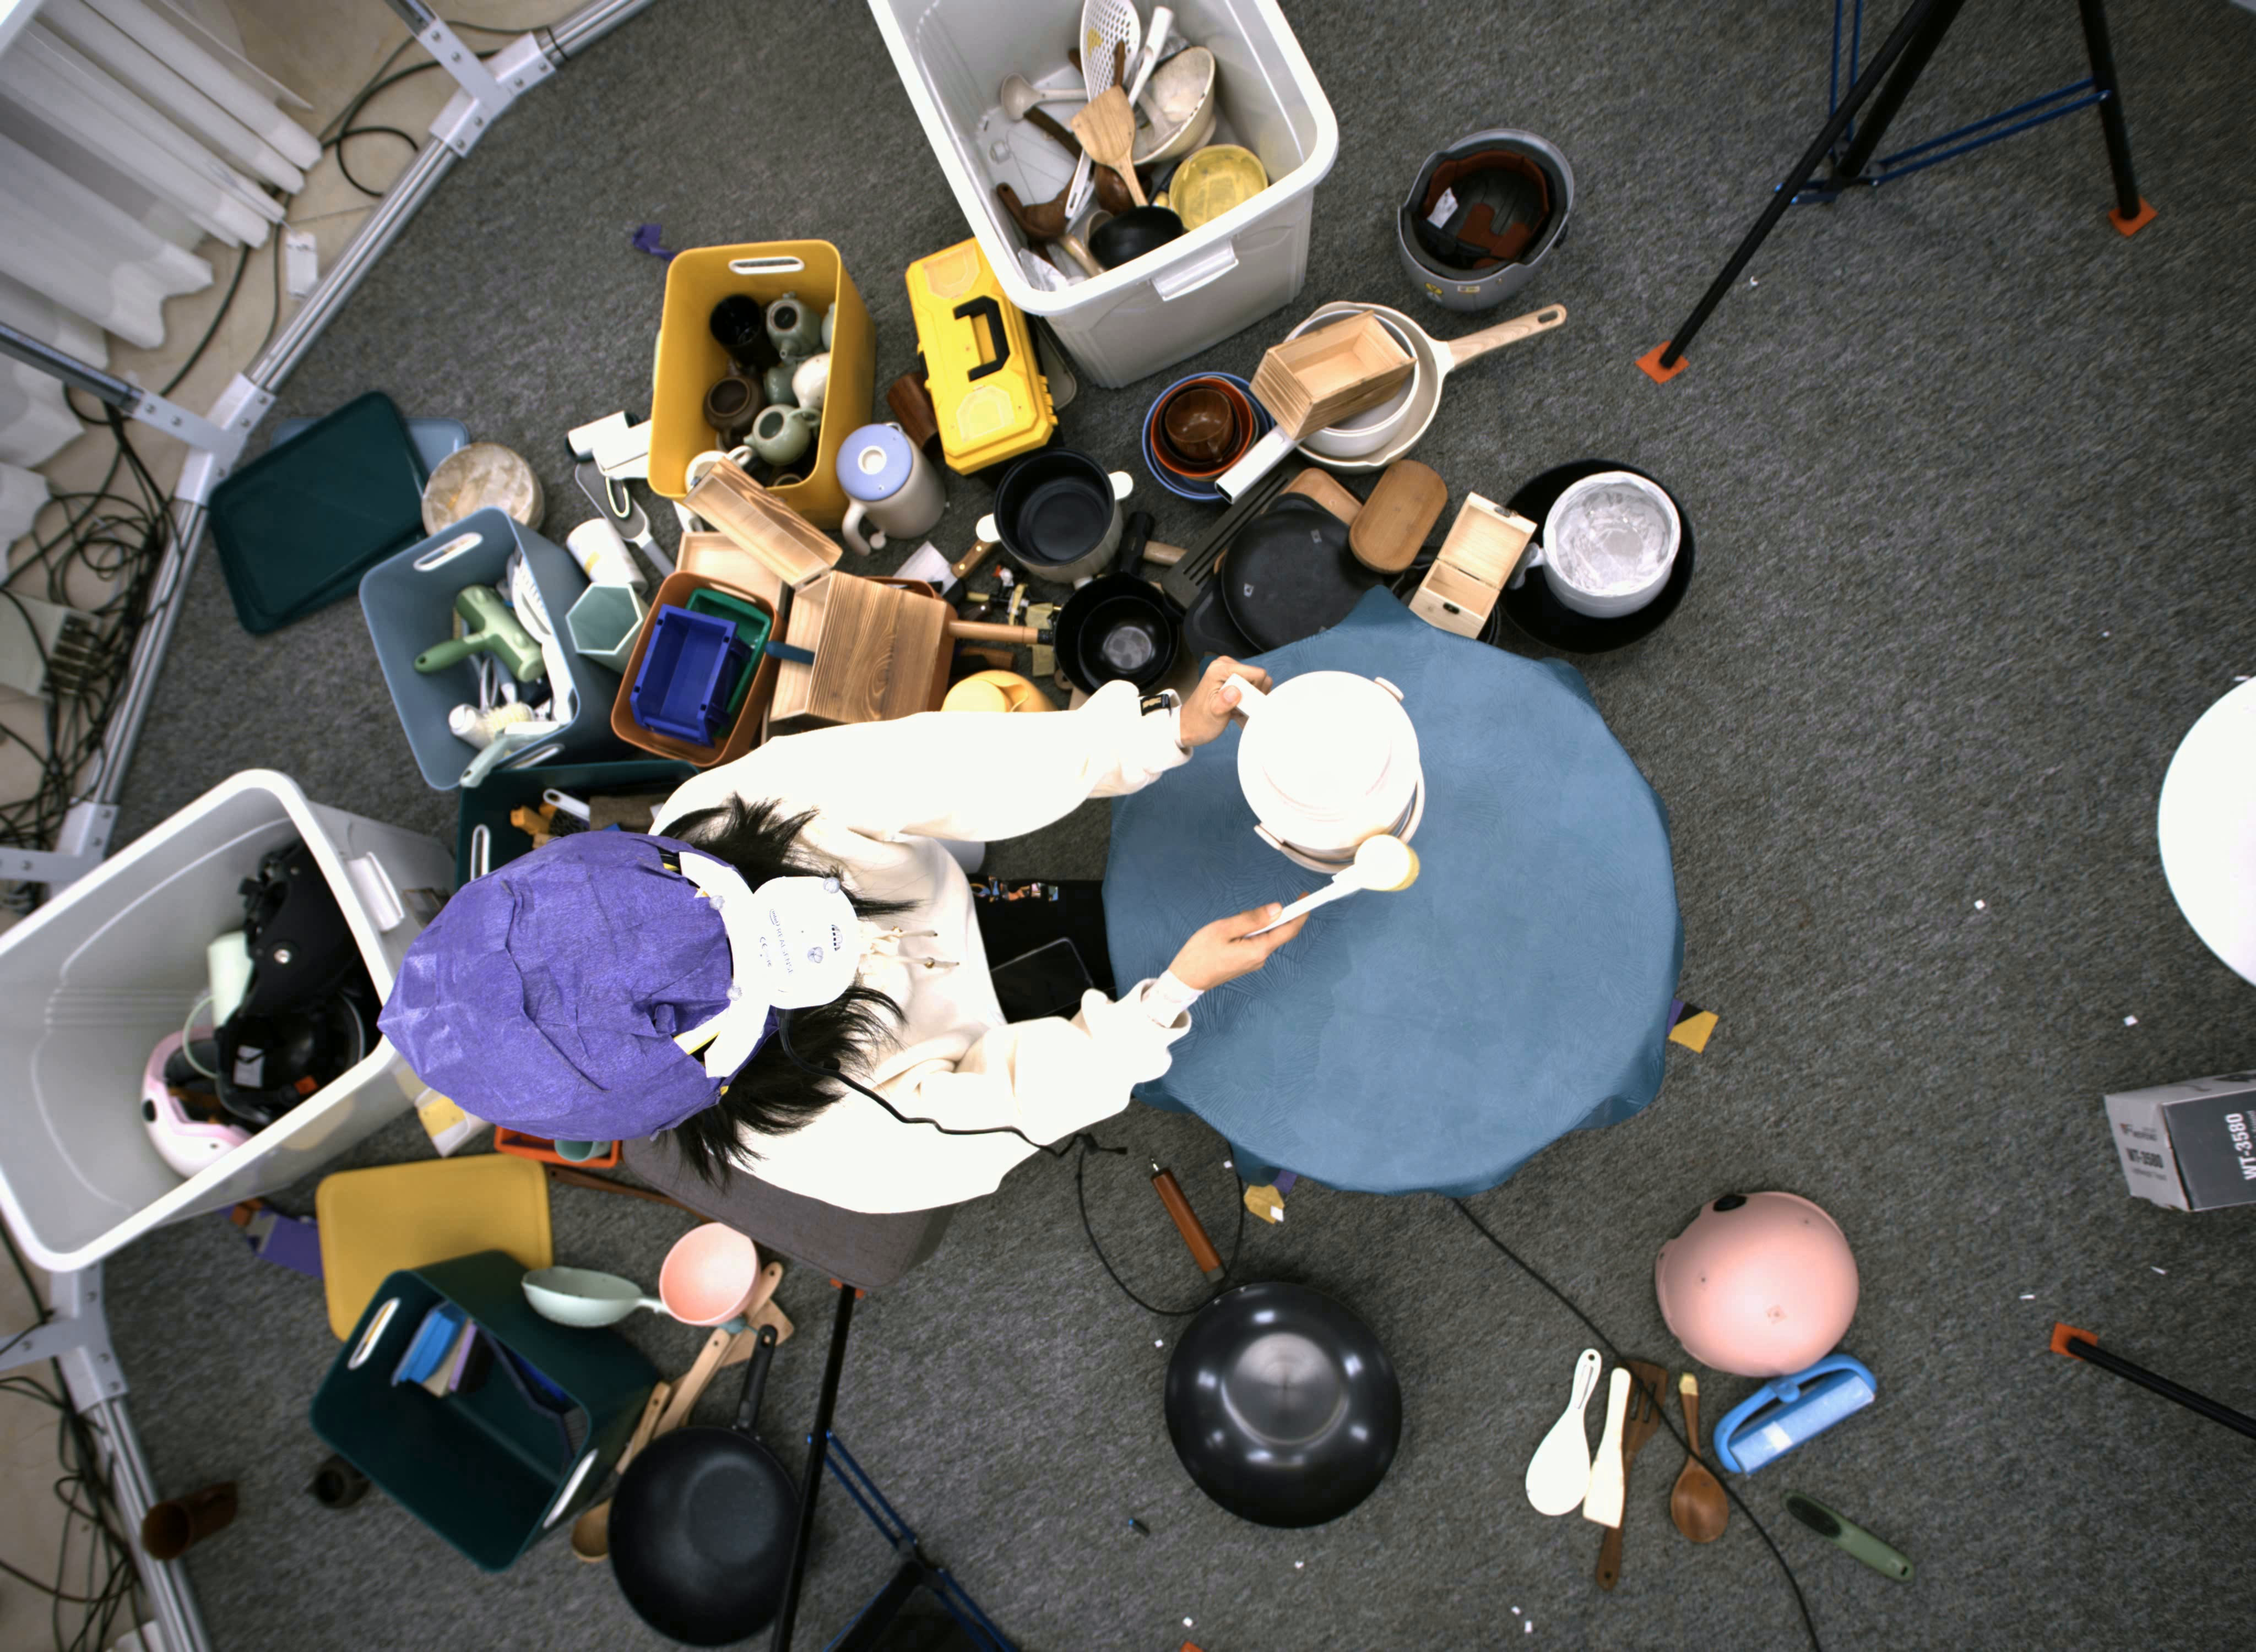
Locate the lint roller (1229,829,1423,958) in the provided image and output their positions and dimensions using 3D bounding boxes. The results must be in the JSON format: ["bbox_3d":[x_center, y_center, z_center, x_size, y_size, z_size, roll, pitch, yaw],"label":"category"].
[{"bbox_3d":[0.179,0.073,1.251,0.194,0.173,0.051,-40,78,12],"label":"lint roller"}]

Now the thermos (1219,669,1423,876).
[{"bbox_3d":[0.179,-0.058,1.283,0.206,0.407,0.176,39,92,11],"label":"thermos"}]
